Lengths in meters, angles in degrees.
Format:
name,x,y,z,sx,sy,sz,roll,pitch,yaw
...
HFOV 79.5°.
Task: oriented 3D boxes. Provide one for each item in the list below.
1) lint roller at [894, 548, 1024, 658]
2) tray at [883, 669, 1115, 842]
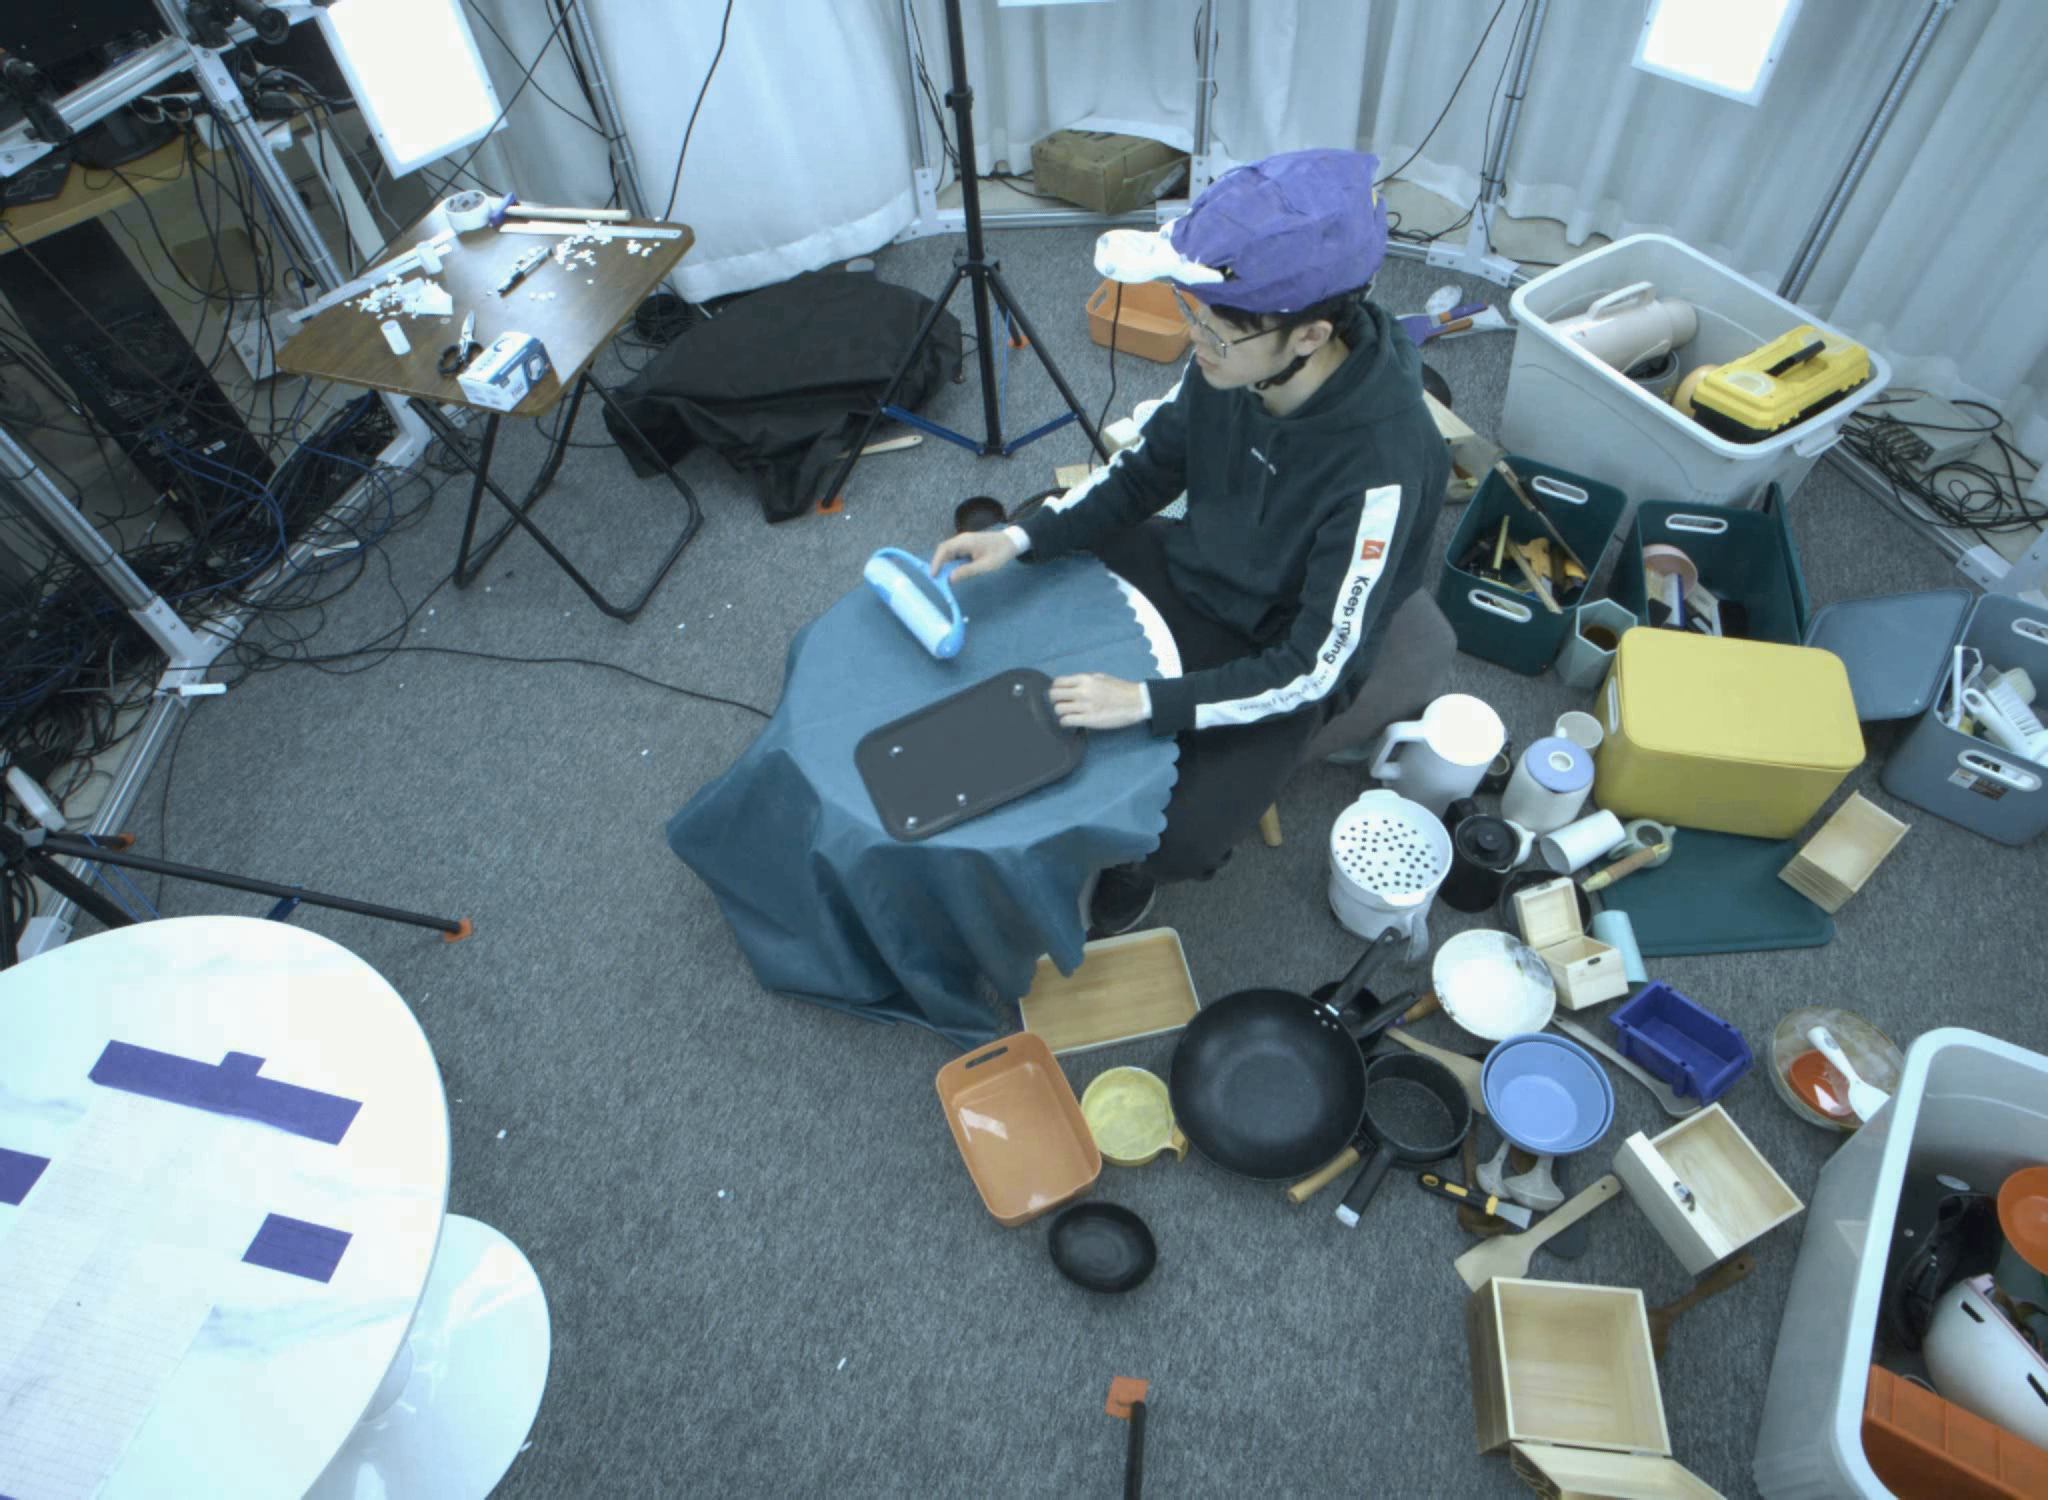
name,x,y,z,sx,sy,sz,roll,pitch,yaw
lint roller,-0.080,-0.258,1.893,0.181,0.069,0.225,-39,63,-13
tray,-0.033,-0.002,1.762,0.327,0.010,0.207,-22,58,-7
